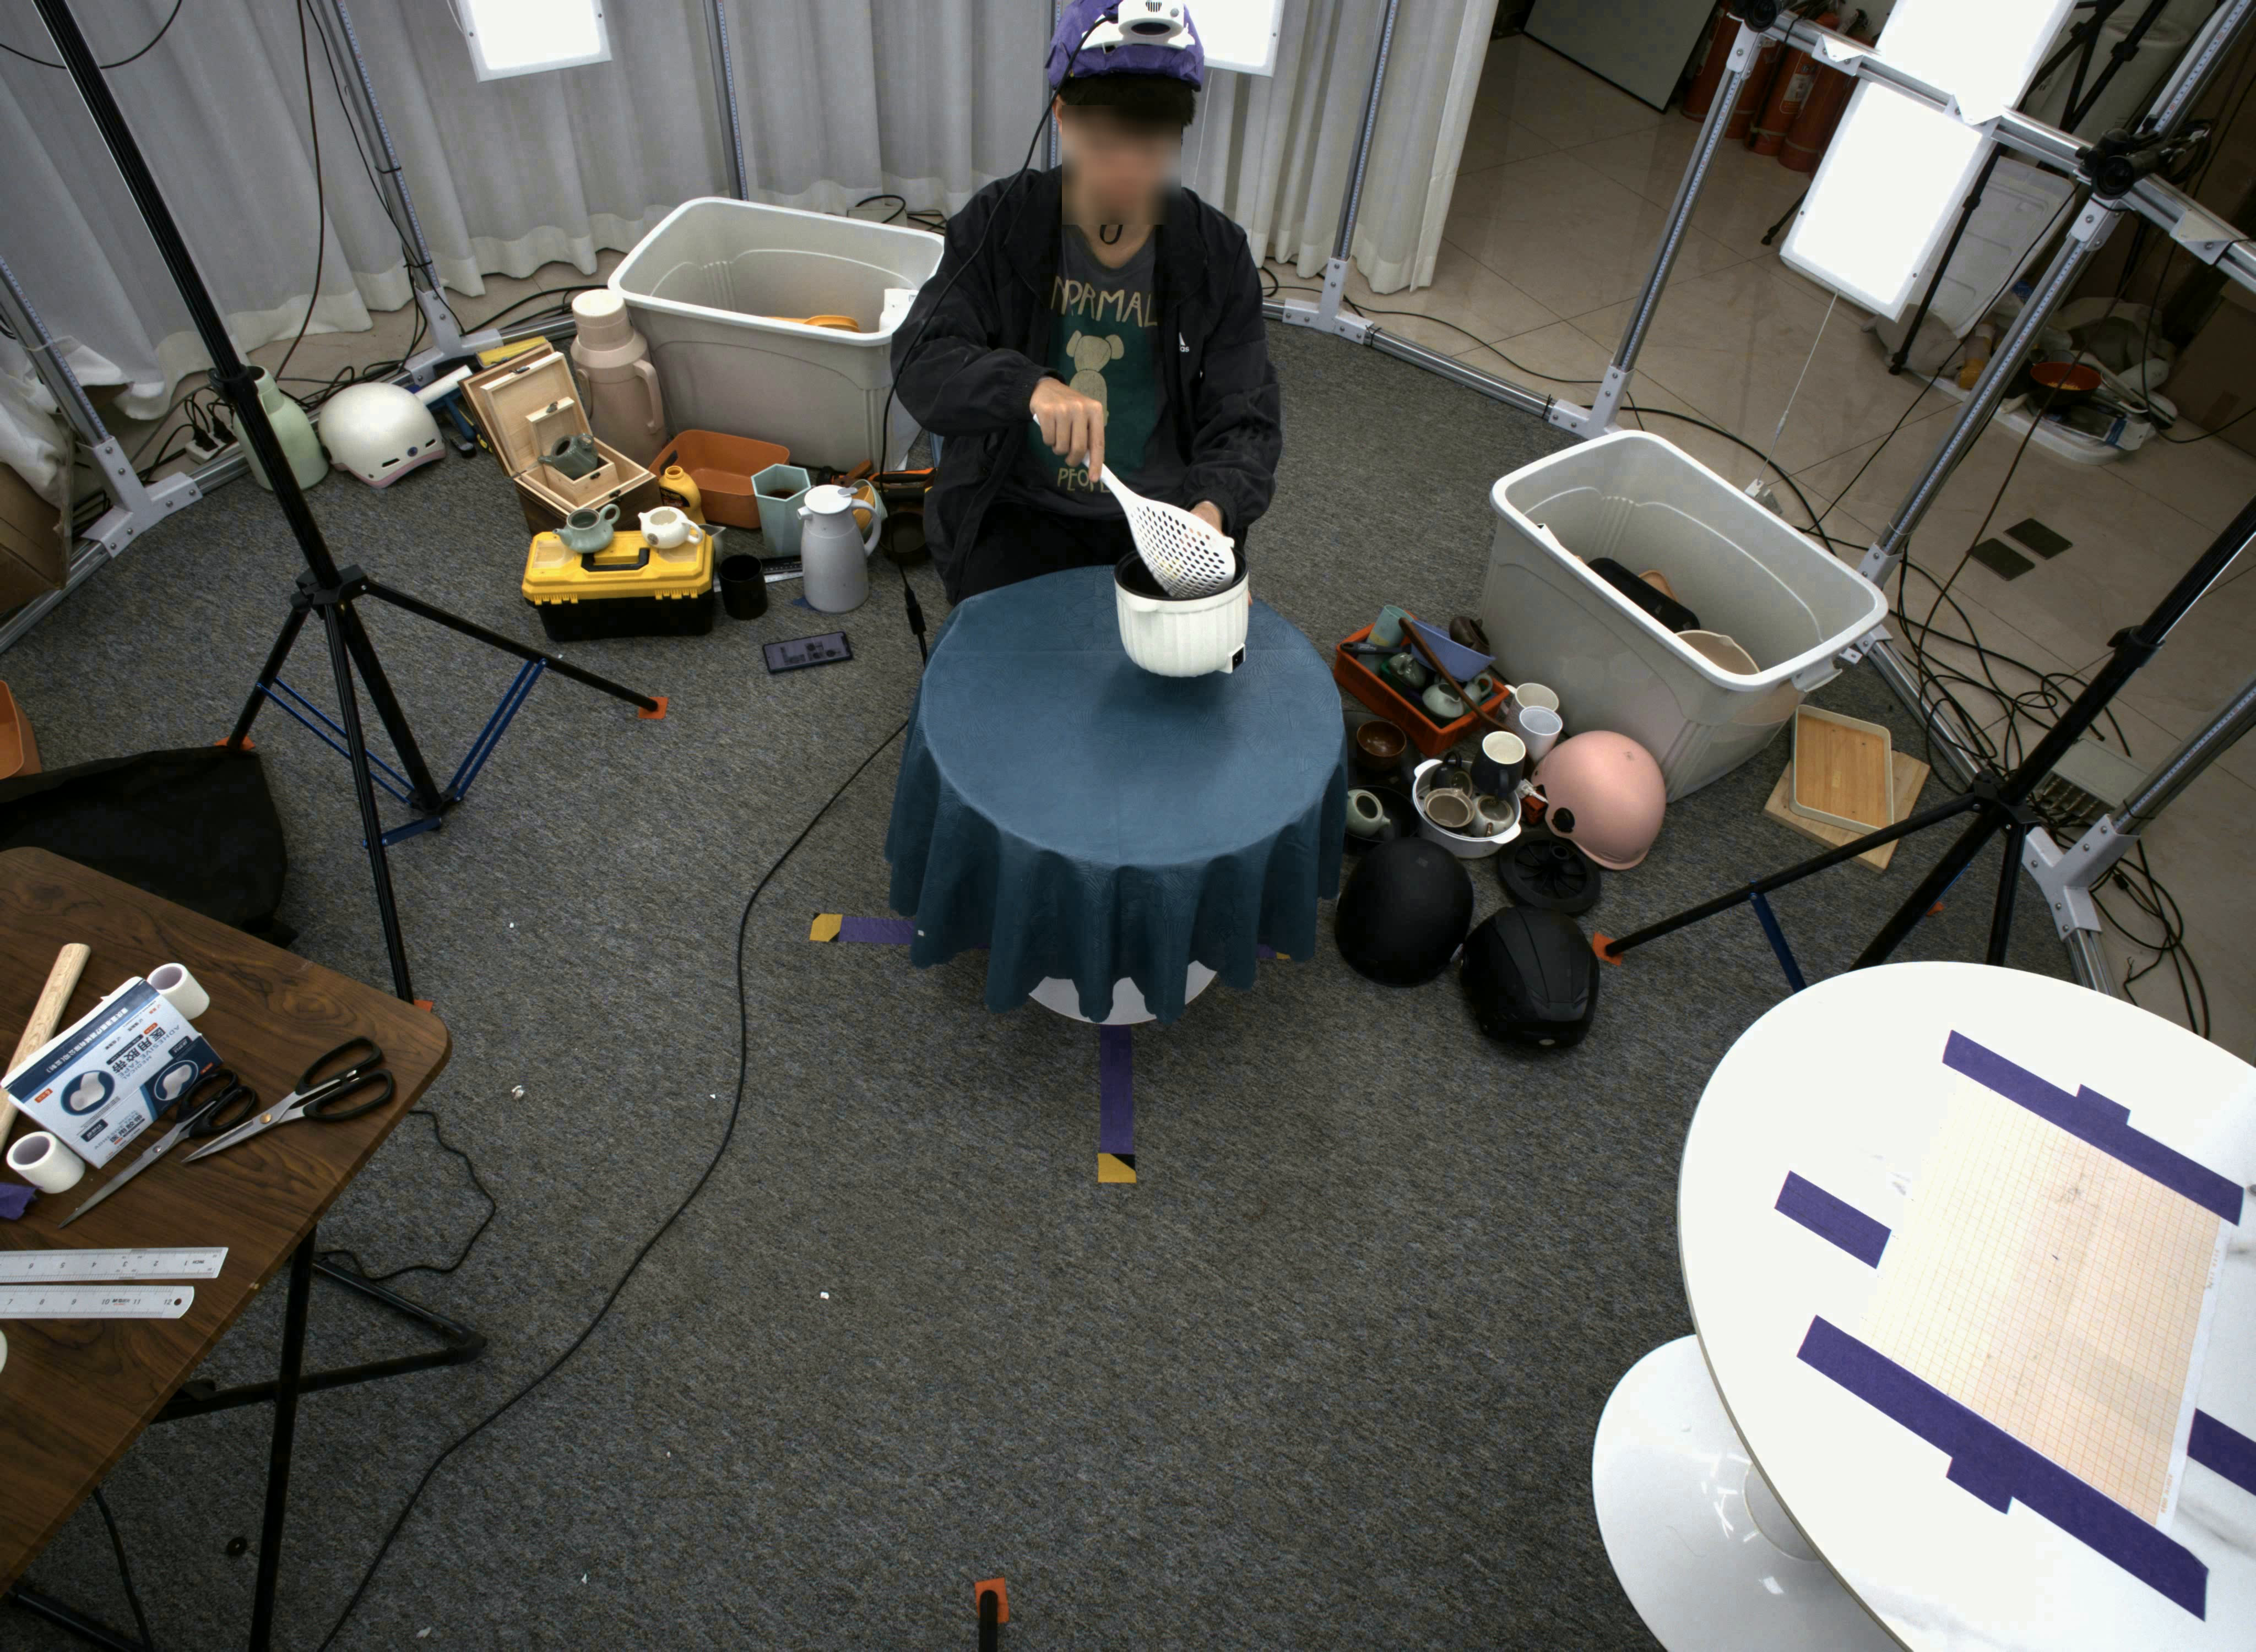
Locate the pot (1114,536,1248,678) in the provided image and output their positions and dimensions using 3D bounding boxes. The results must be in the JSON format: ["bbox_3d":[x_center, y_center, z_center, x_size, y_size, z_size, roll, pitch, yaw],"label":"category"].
[{"bbox_3d":[0.069,-0.296,1.772,0.192,0.139,0.243,21,42,27],"label":"pot"}]

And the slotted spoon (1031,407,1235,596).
[{"bbox_3d":[-0.001,-0.431,1.730,0.349,0.135,0.051,48,49,4],"label":"slotted spoon"}]
